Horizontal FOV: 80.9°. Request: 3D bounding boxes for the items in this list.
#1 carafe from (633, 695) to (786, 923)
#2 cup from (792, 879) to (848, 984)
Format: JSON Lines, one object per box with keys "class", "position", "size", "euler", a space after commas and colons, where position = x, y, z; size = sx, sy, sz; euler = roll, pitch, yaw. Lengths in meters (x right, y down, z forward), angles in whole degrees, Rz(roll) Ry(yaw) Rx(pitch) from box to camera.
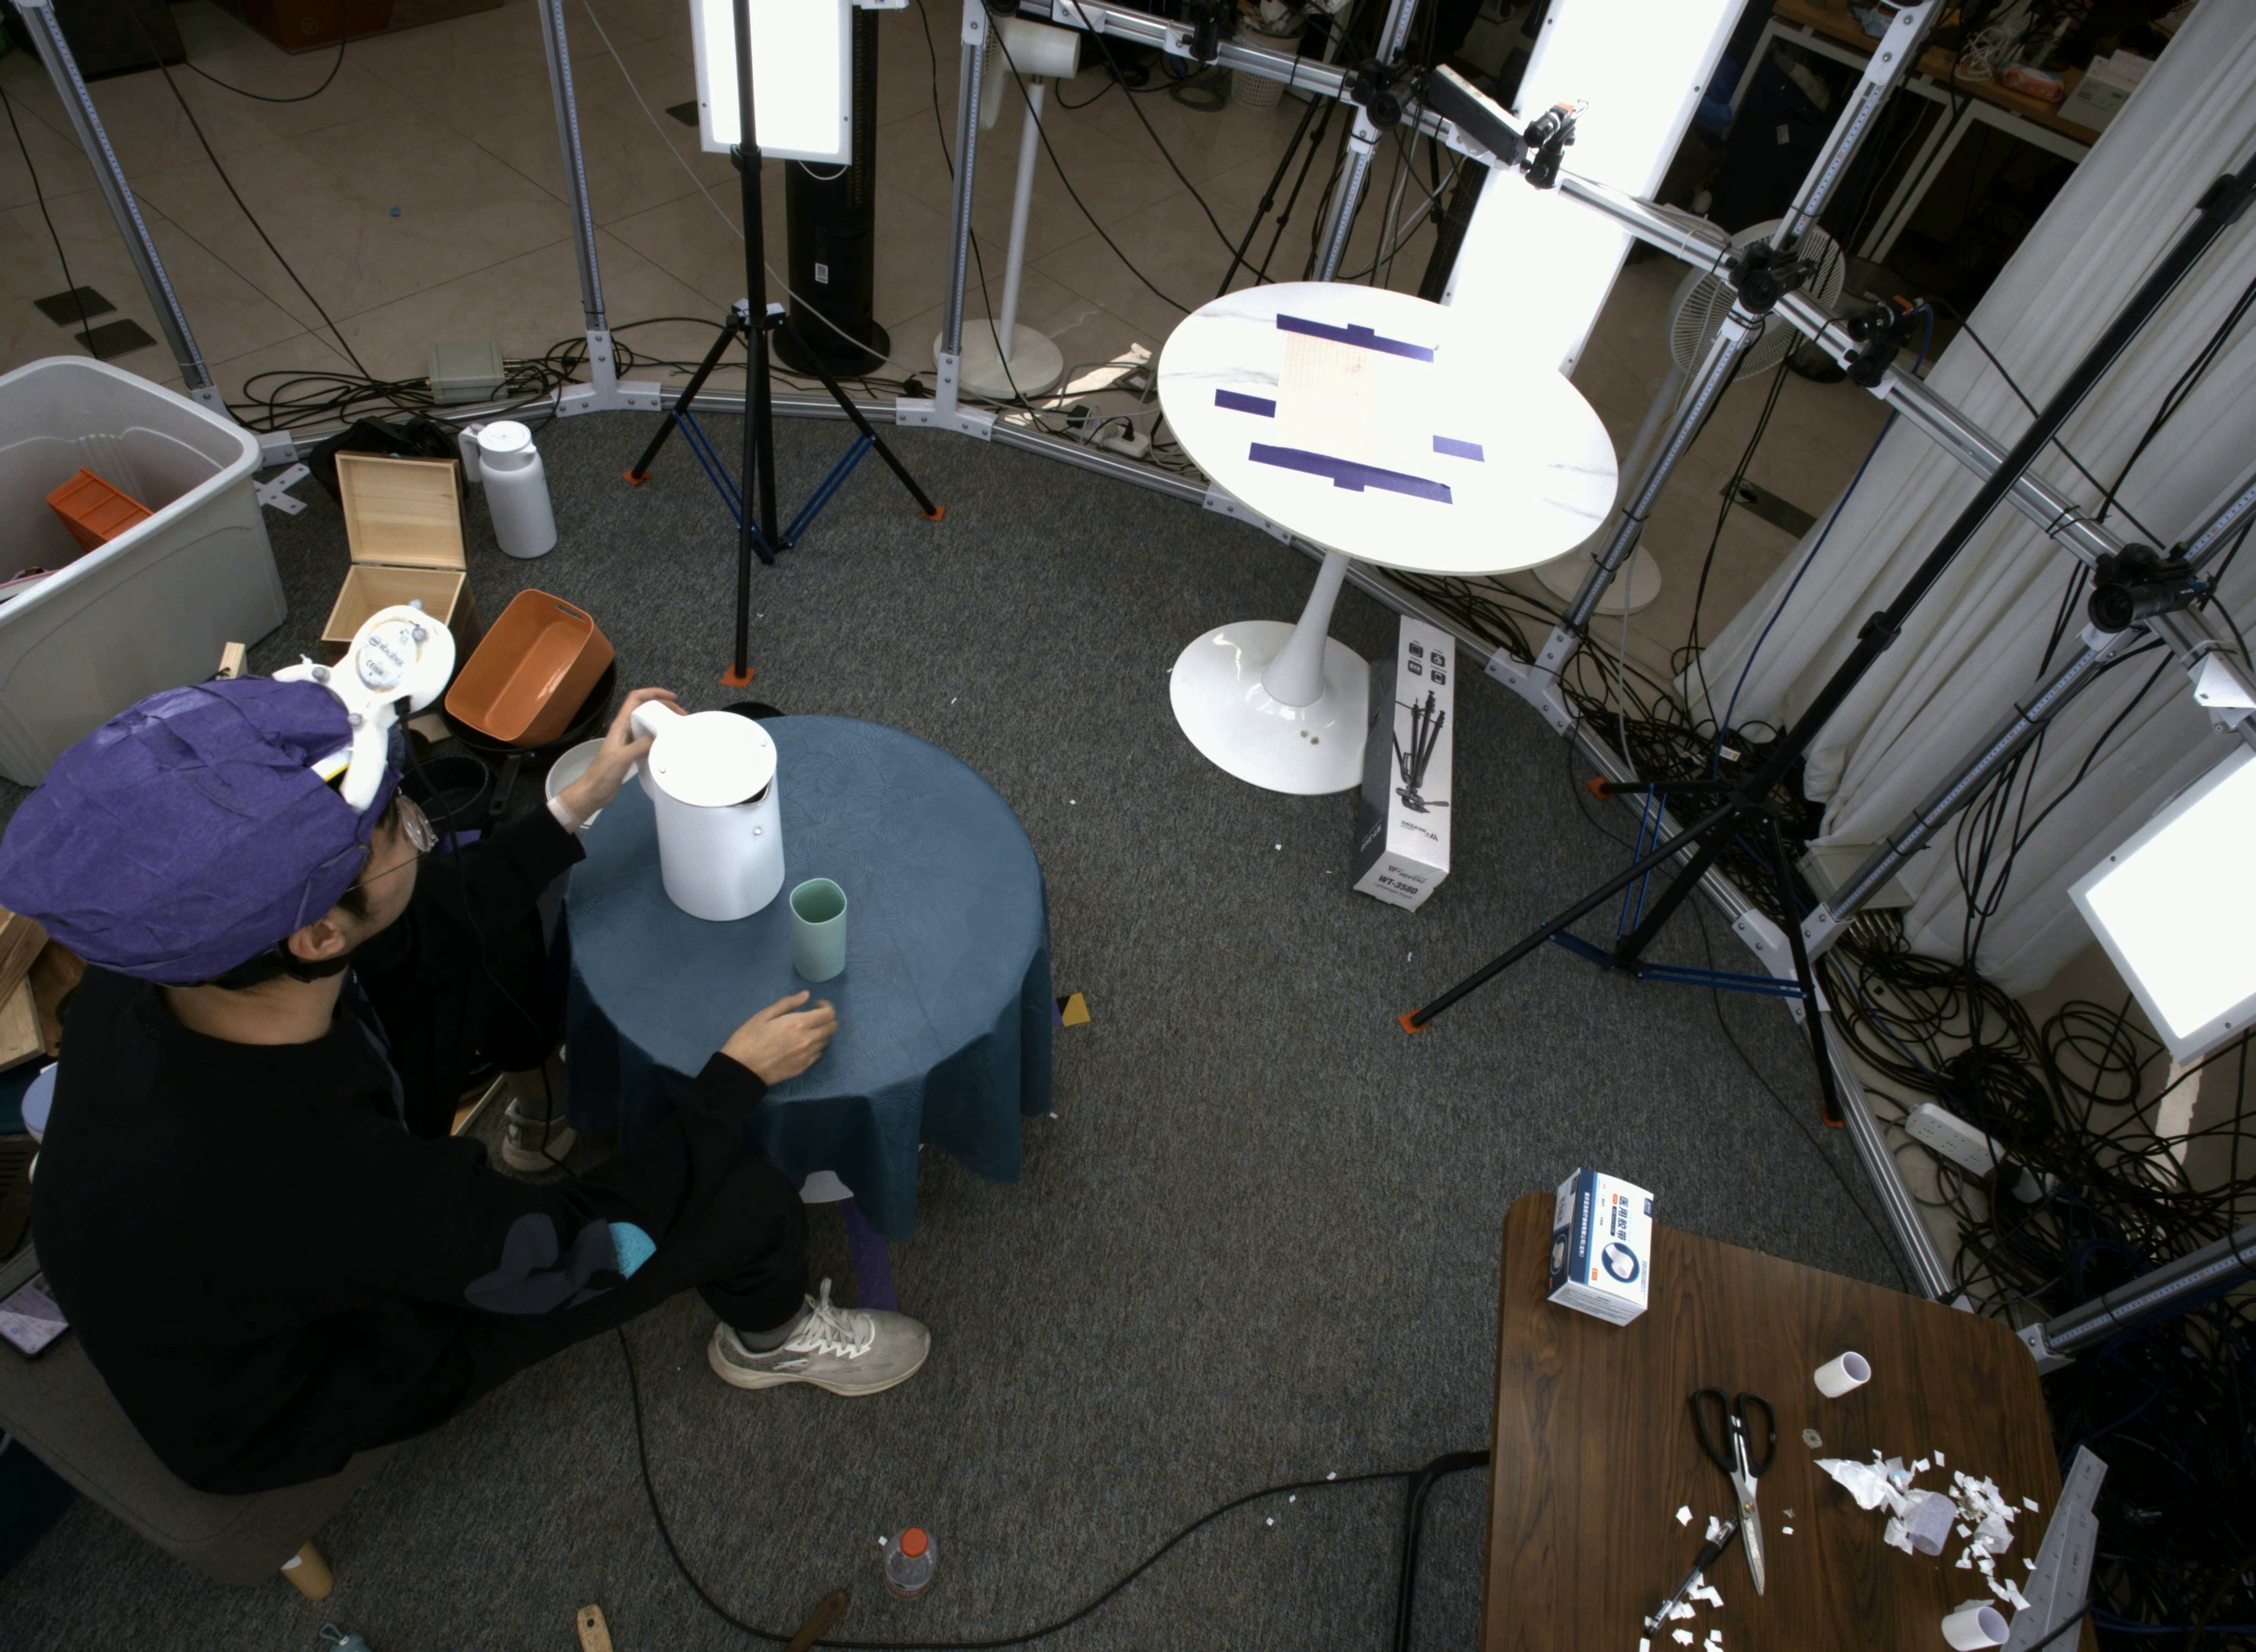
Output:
{"class": "carafe", "position": [-0.518, -0.029, 1.576], "size": [0.209, 0.245, 0.152], "euler": [36, 53, 14]}
{"class": "cup", "position": [-0.374, 0.127, 1.569], "size": [0.066, 0.135, 0.065], "euler": [7, 51, -8]}
